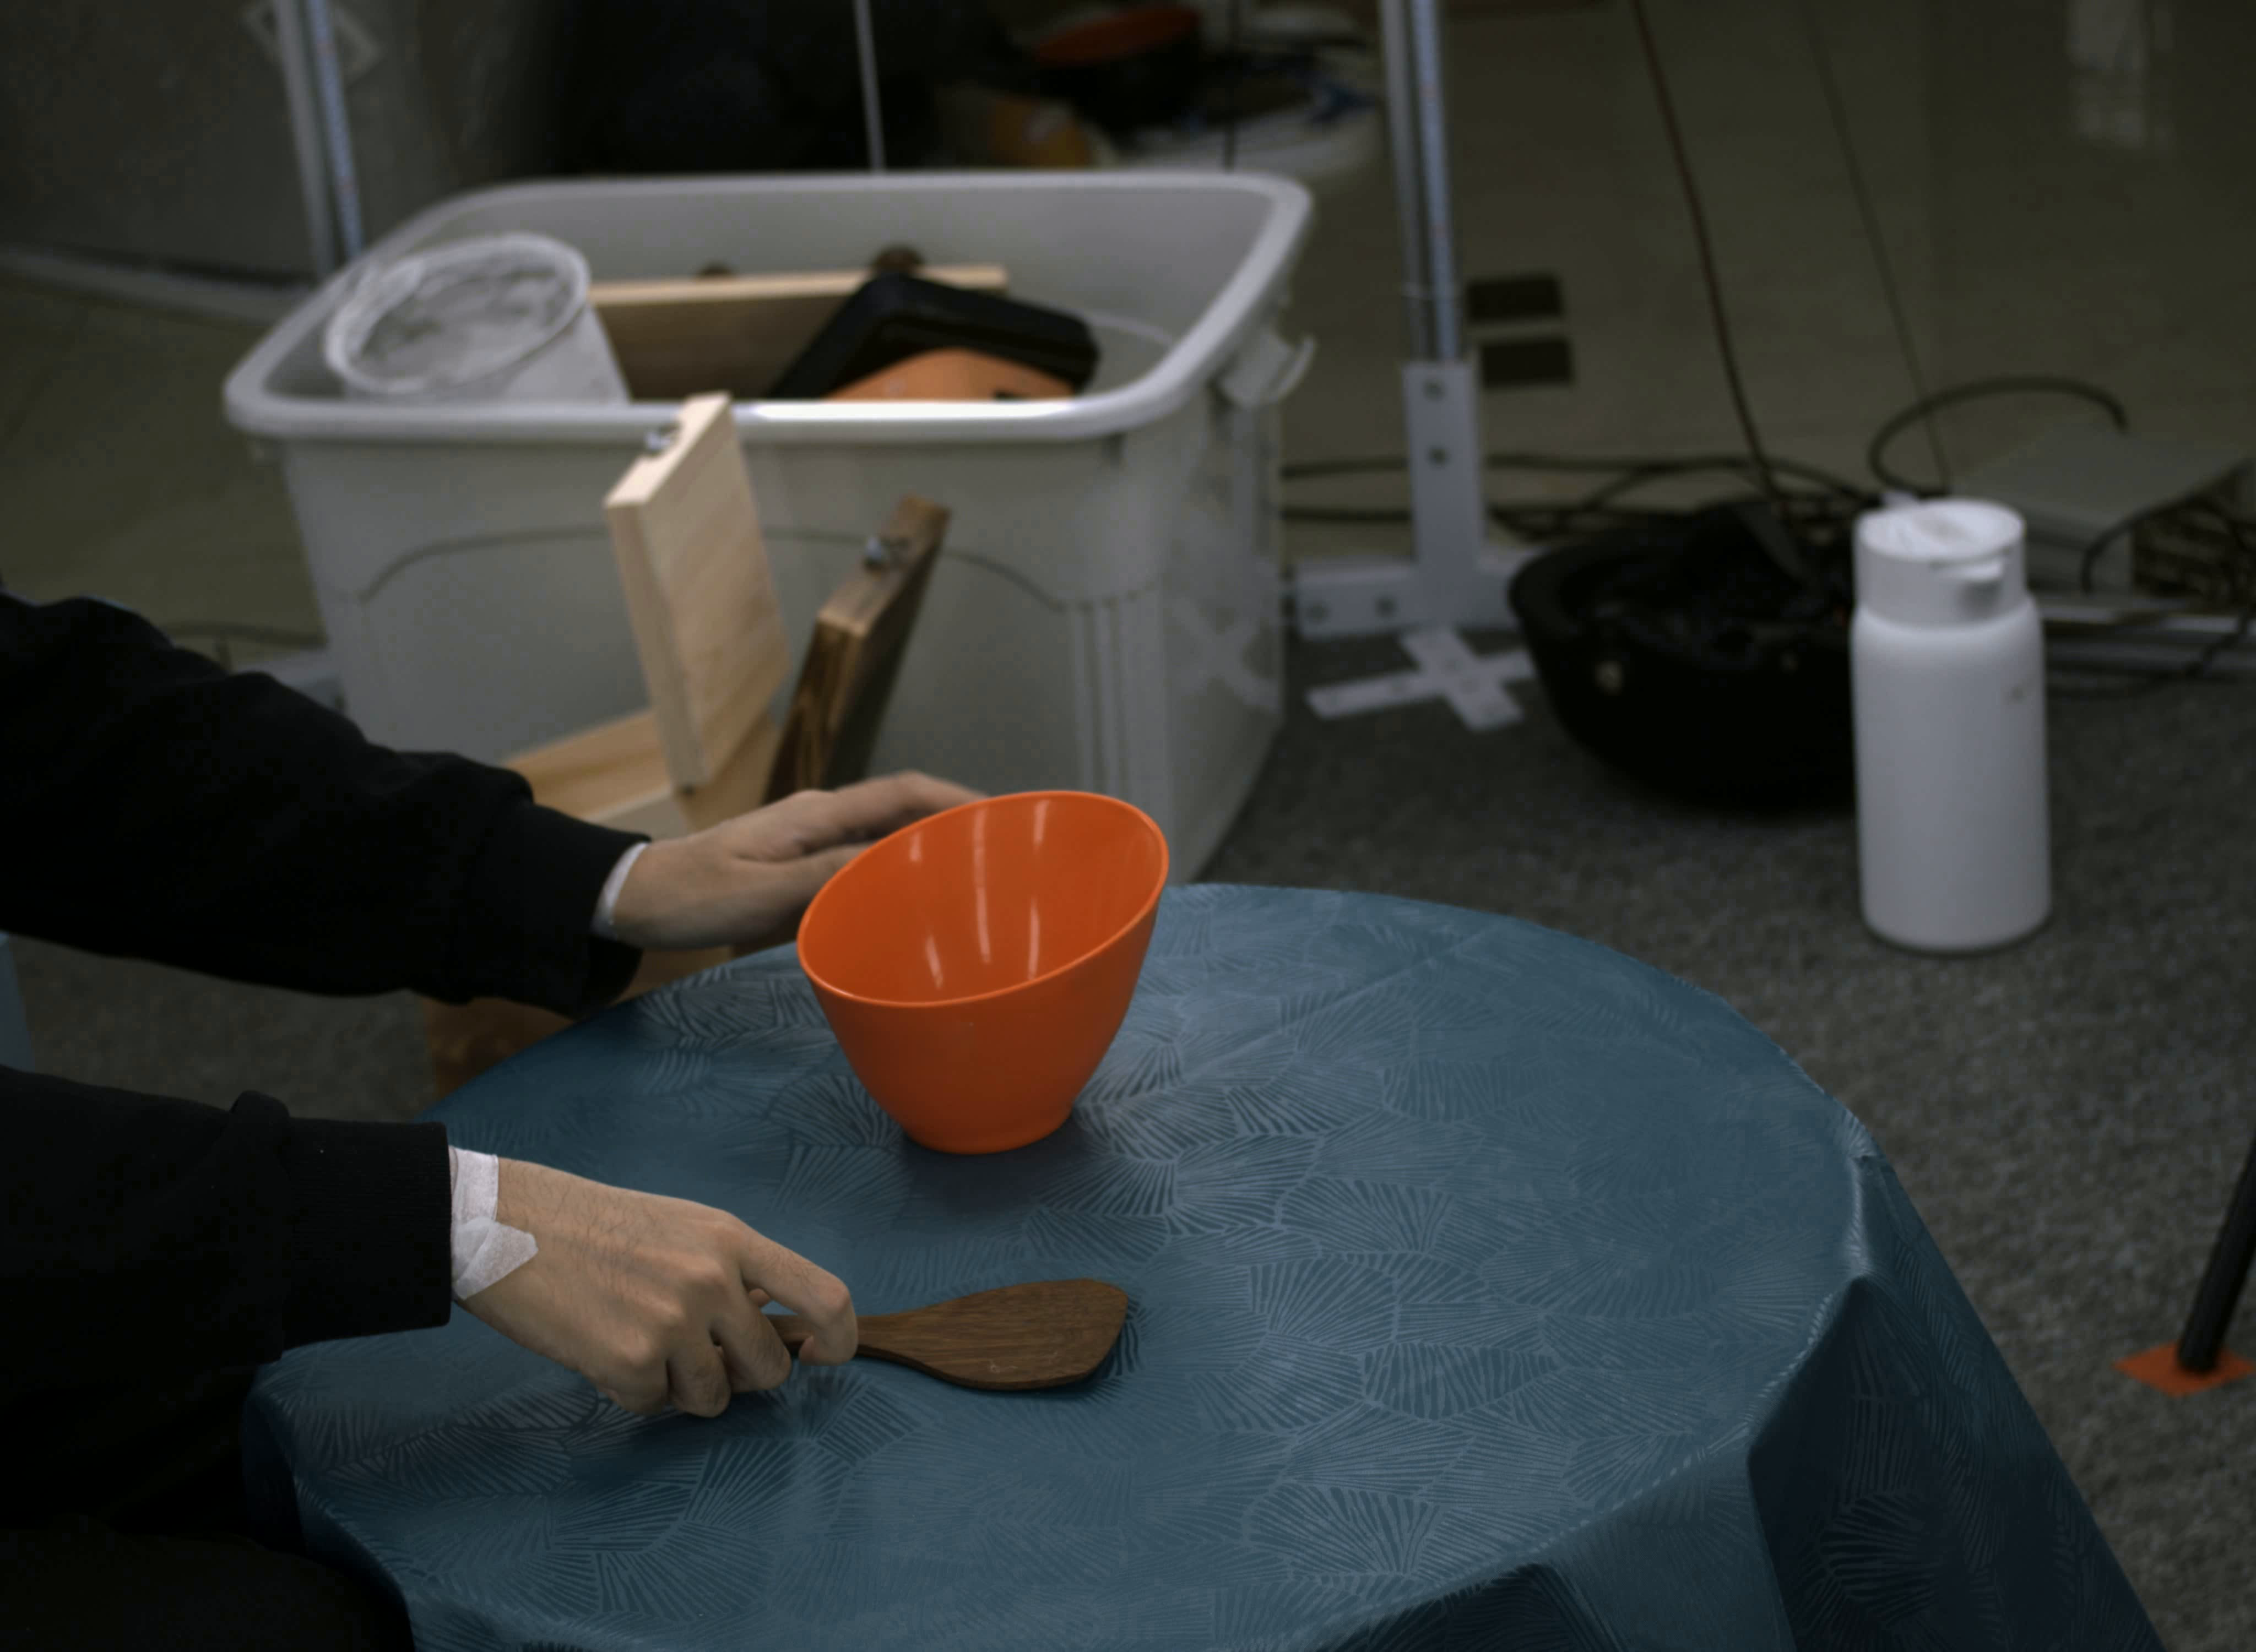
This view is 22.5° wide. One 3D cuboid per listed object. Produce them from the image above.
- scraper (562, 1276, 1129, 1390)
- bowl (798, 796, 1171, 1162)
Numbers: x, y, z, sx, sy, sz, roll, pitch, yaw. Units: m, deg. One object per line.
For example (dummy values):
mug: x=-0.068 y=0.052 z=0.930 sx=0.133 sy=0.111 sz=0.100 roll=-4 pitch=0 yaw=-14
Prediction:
scraper: x=-0.104 y=0.186 z=2.069 sx=0.211 sy=0.011 sz=0.075 roll=-1 pitch=24 yaw=12
bowl: x=-0.051 y=0.066 z=2.203 sx=0.148 sy=0.106 sz=0.146 roll=-6 pitch=27 yaw=3
